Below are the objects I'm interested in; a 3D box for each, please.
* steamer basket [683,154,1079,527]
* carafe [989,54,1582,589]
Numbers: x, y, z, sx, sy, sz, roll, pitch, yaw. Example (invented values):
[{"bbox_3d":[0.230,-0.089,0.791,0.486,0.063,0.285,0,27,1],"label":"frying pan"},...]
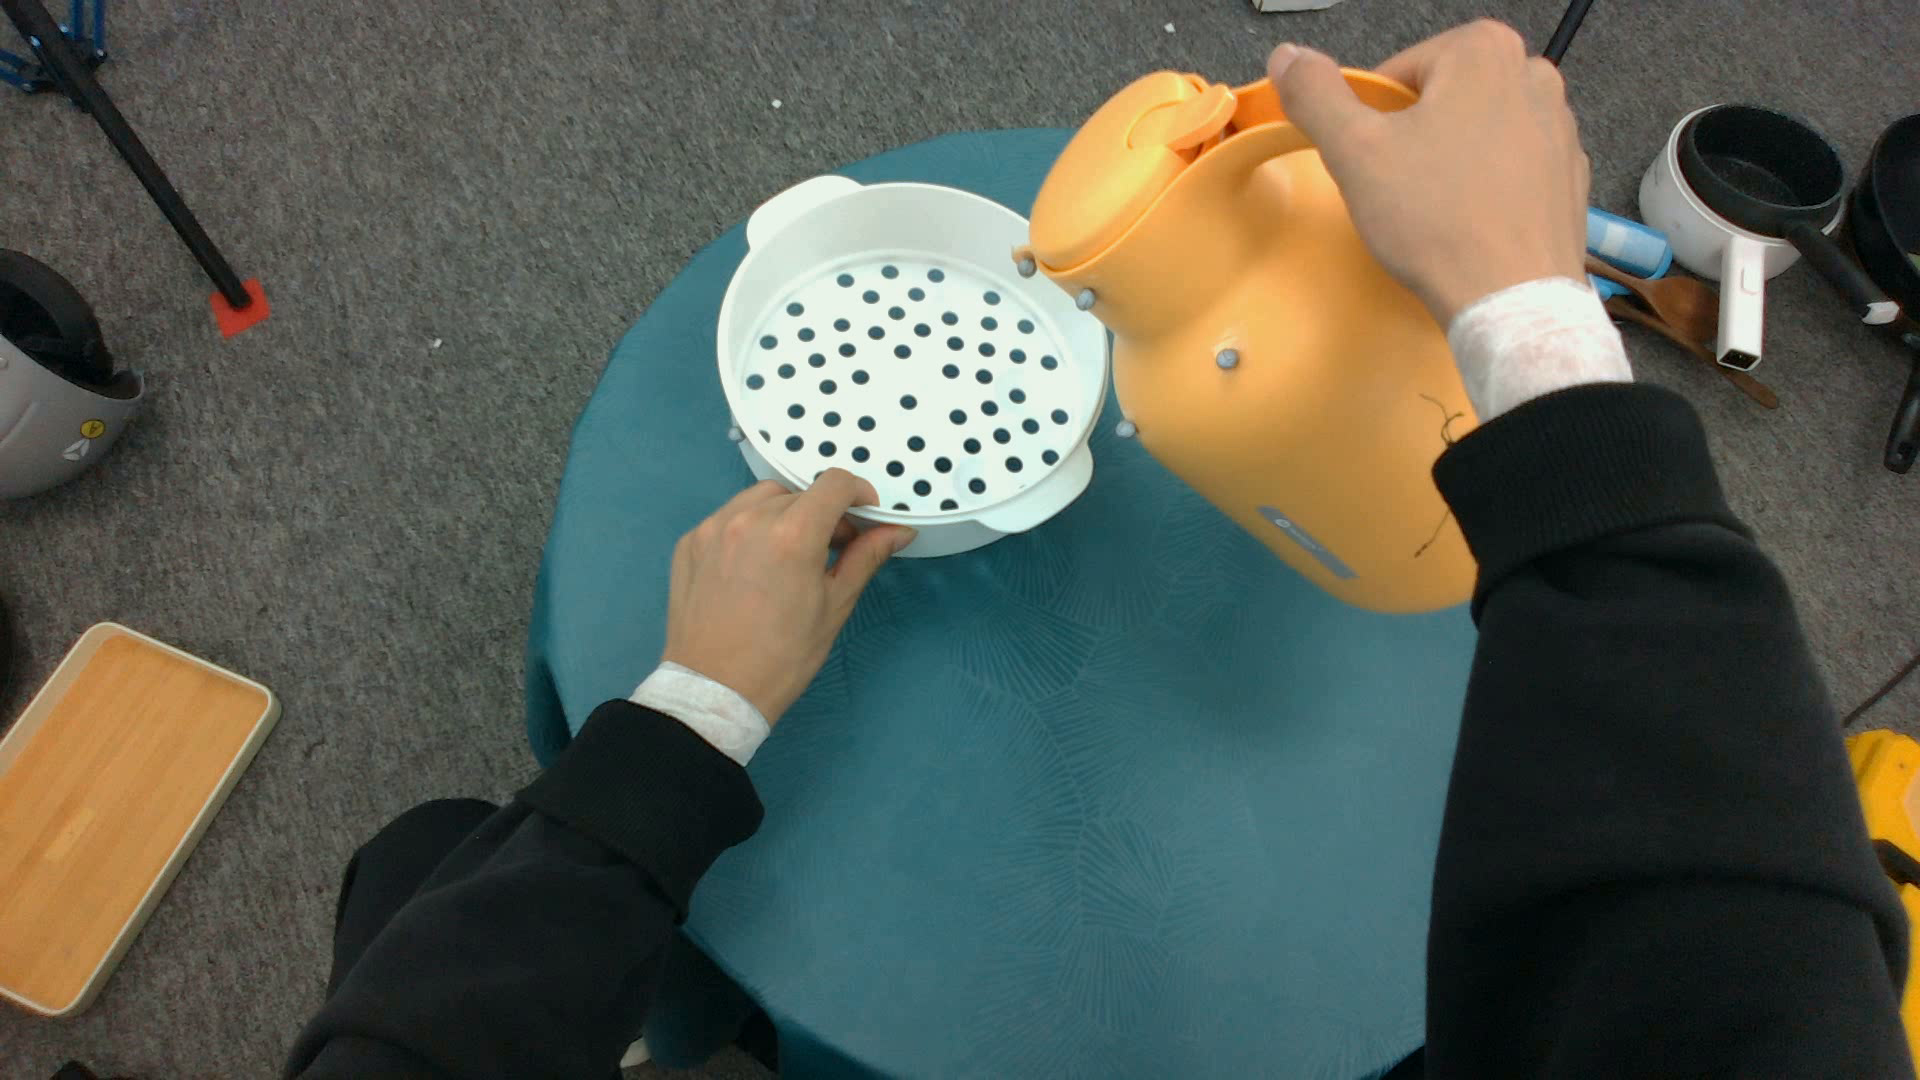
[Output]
[{"bbox_3d":[-0.041,-0.103,0.724,0.202,0.069,0.231,-35,72,-20],"label":"steamer basket"},{"bbox_3d":[0.150,-0.099,0.593,0.260,0.201,0.164,31,67,-25],"label":"carafe"}]
